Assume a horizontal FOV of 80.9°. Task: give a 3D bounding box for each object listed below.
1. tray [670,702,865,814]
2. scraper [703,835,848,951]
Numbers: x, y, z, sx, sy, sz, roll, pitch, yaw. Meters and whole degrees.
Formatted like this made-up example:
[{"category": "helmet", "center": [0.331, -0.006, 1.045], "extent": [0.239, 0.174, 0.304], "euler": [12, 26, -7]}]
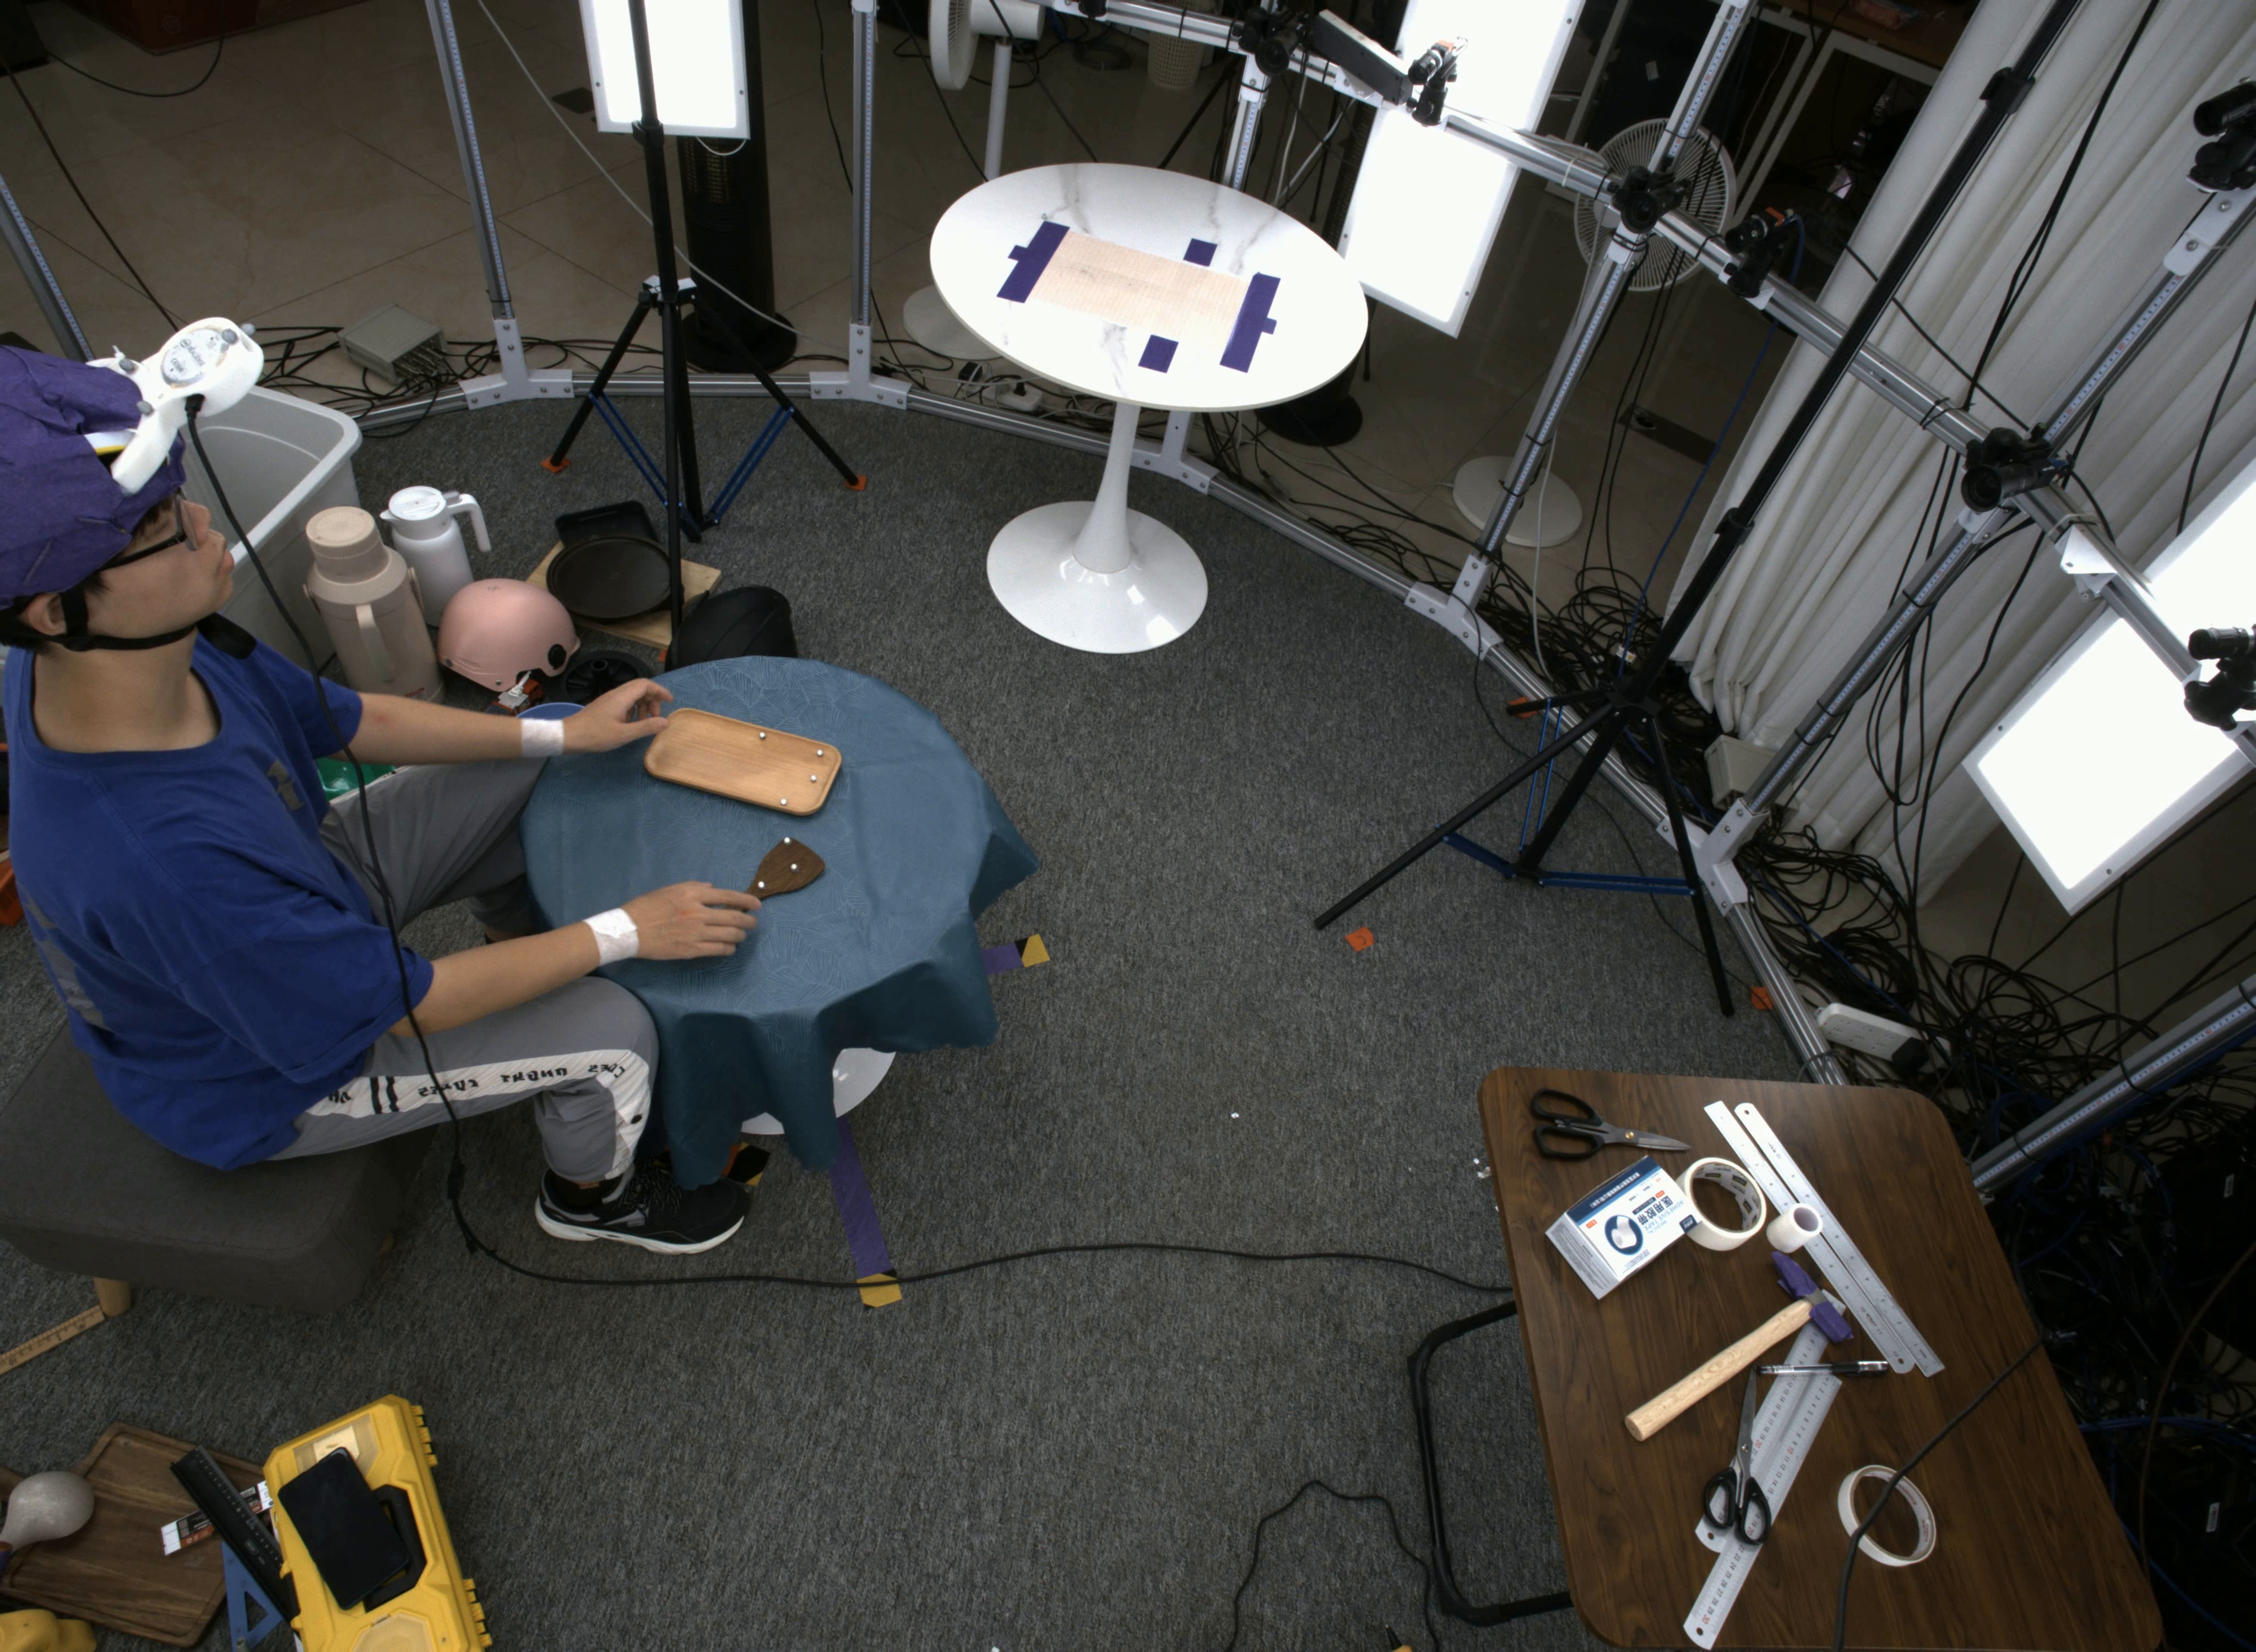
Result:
[{"category": "tray", "center": [-0.494, -0.094, 1.775], "extent": [0.248, 0.023, 0.129], "euler": [17, 49, -1]}, {"category": "scraper", "center": [-0.455, 0.087, 1.656], "extent": [0.074, 0.011, 0.211], "euler": [37, 55, 16]}]
